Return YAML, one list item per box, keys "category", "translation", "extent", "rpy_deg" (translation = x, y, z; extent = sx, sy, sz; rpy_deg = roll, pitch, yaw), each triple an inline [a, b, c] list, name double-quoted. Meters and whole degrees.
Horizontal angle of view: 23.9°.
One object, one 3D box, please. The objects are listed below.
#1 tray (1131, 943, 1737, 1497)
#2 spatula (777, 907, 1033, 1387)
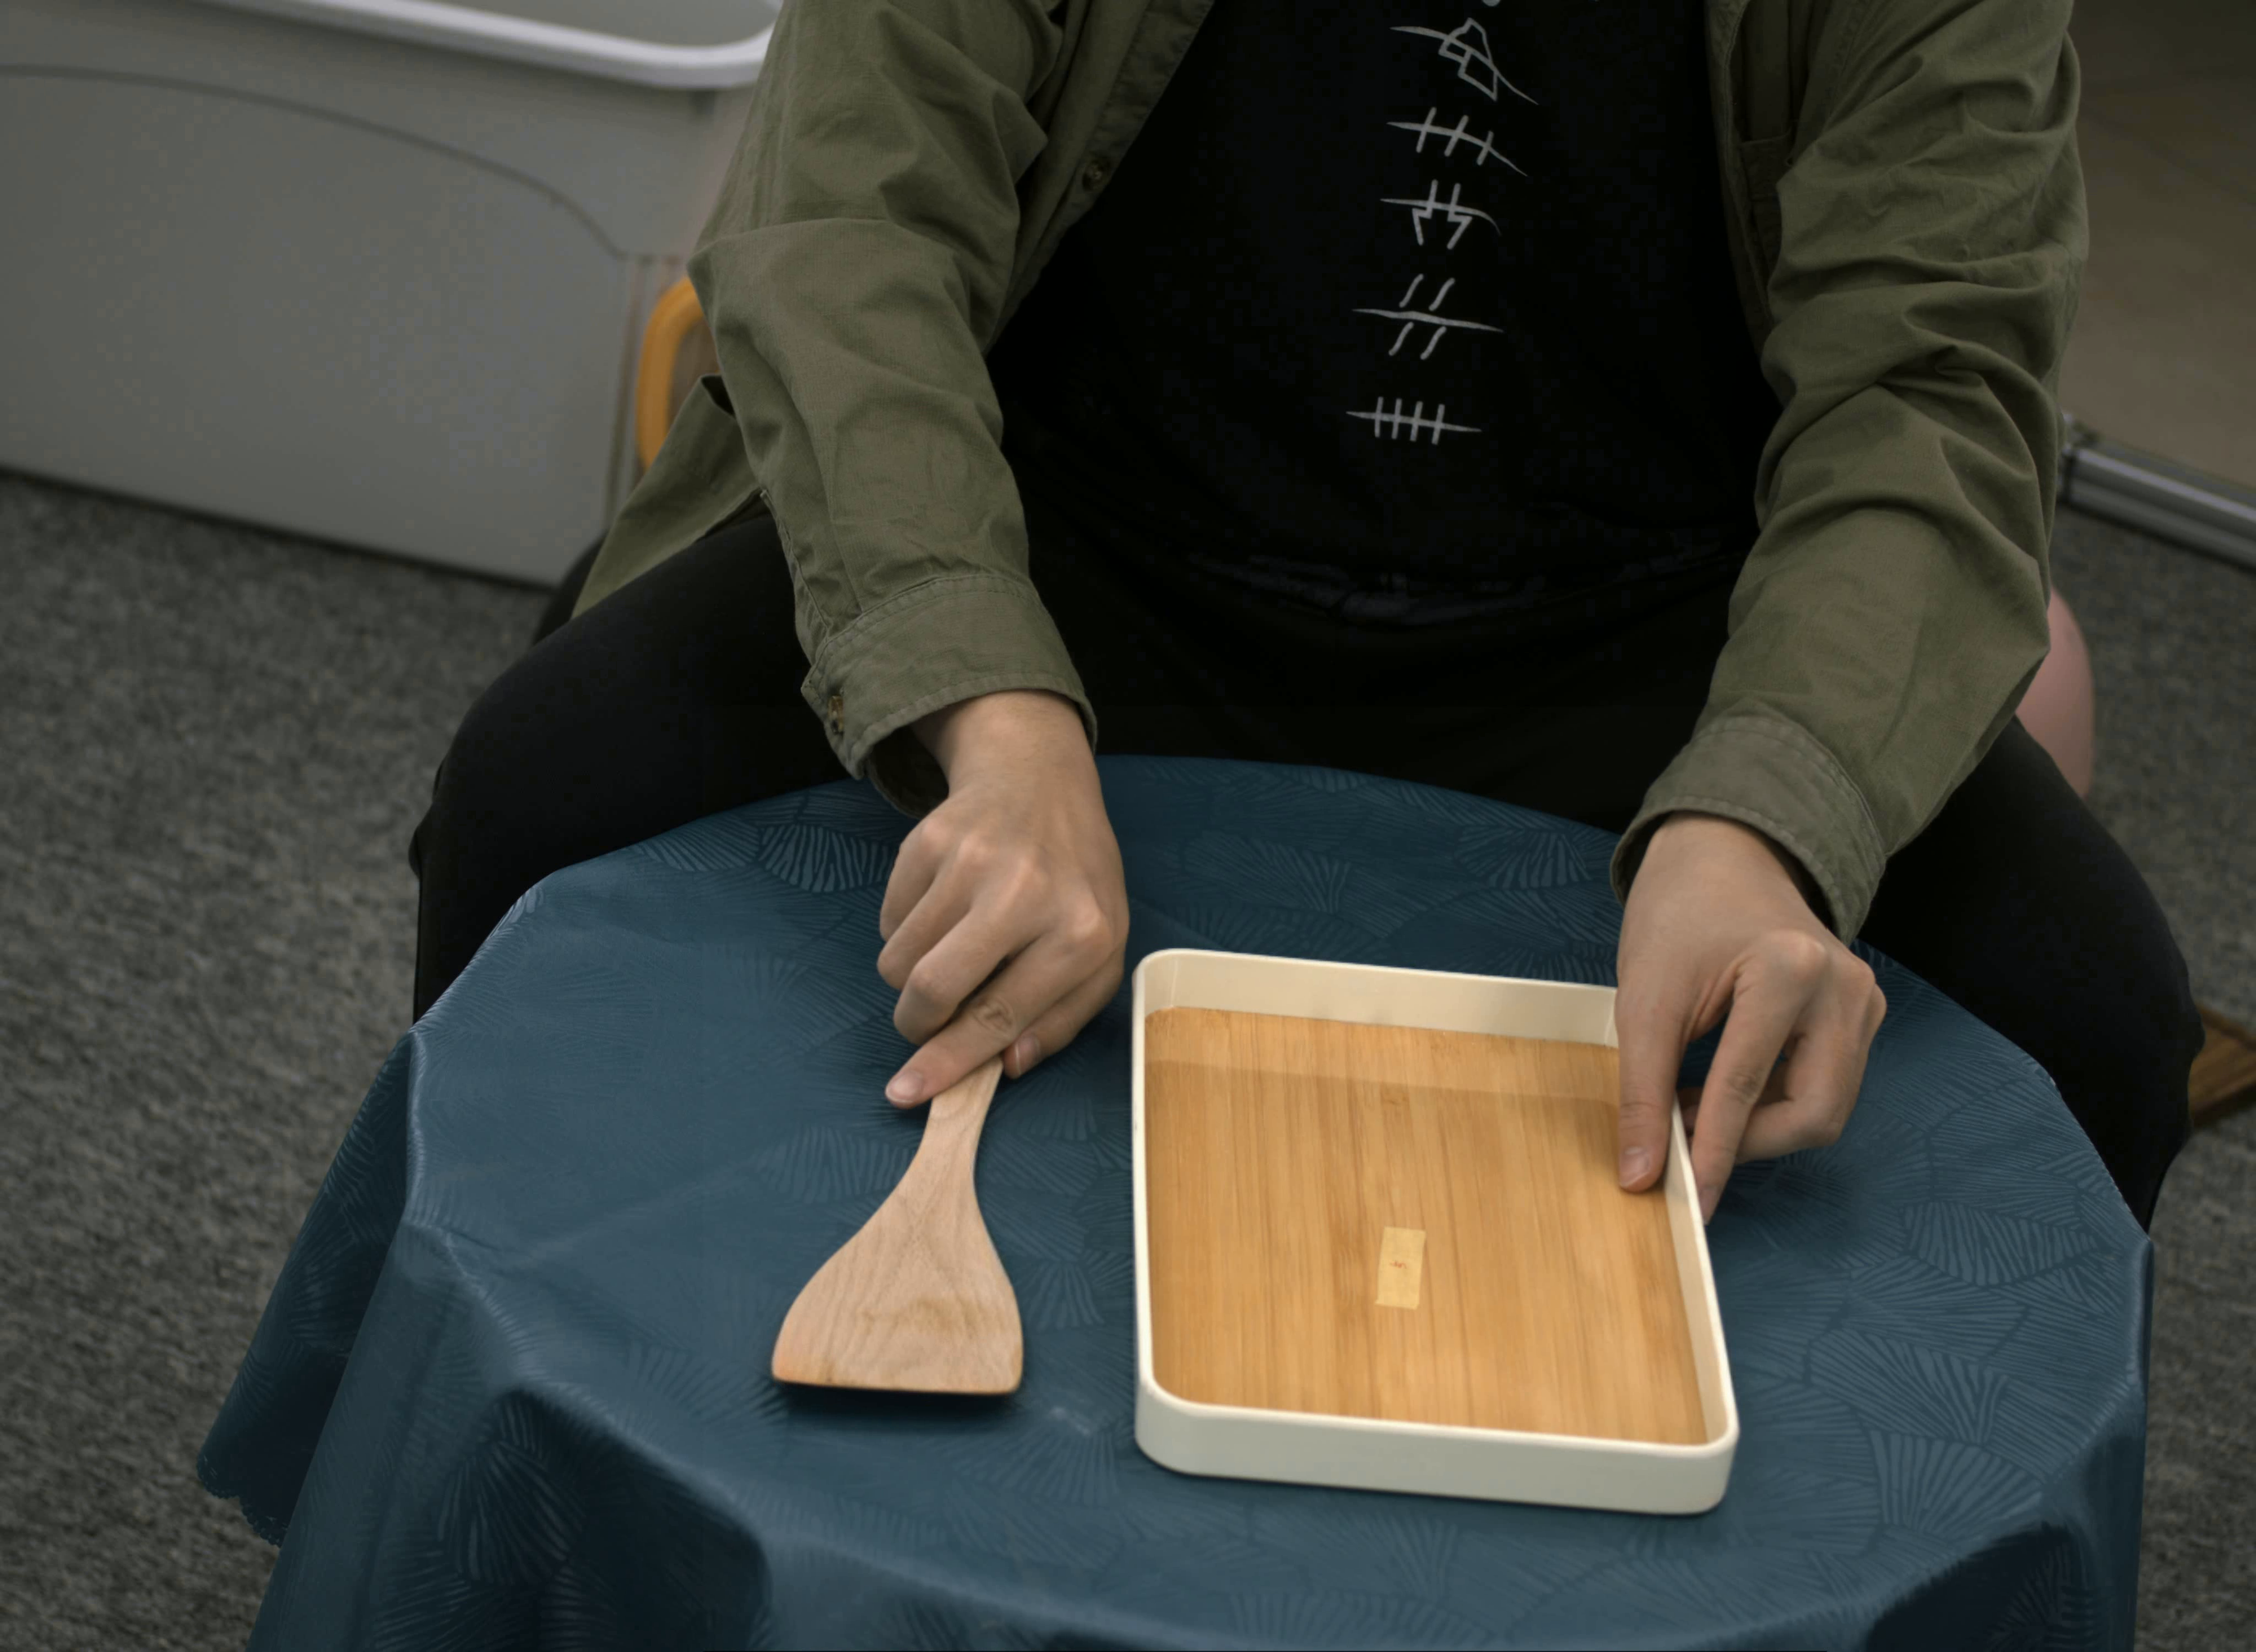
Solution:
- category: "tray"
  translation: [0.096, 0.126, 1.783]
  extent: [0.191, 0.027, 0.302]
  rpy_deg: [6, 26, -2]
- category: "spatula"
  translation: [-0.059, 0.105, 1.803]
  extent: [0.080, 0.016, 0.329]
  rpy_deg: [7, 28, 2]
